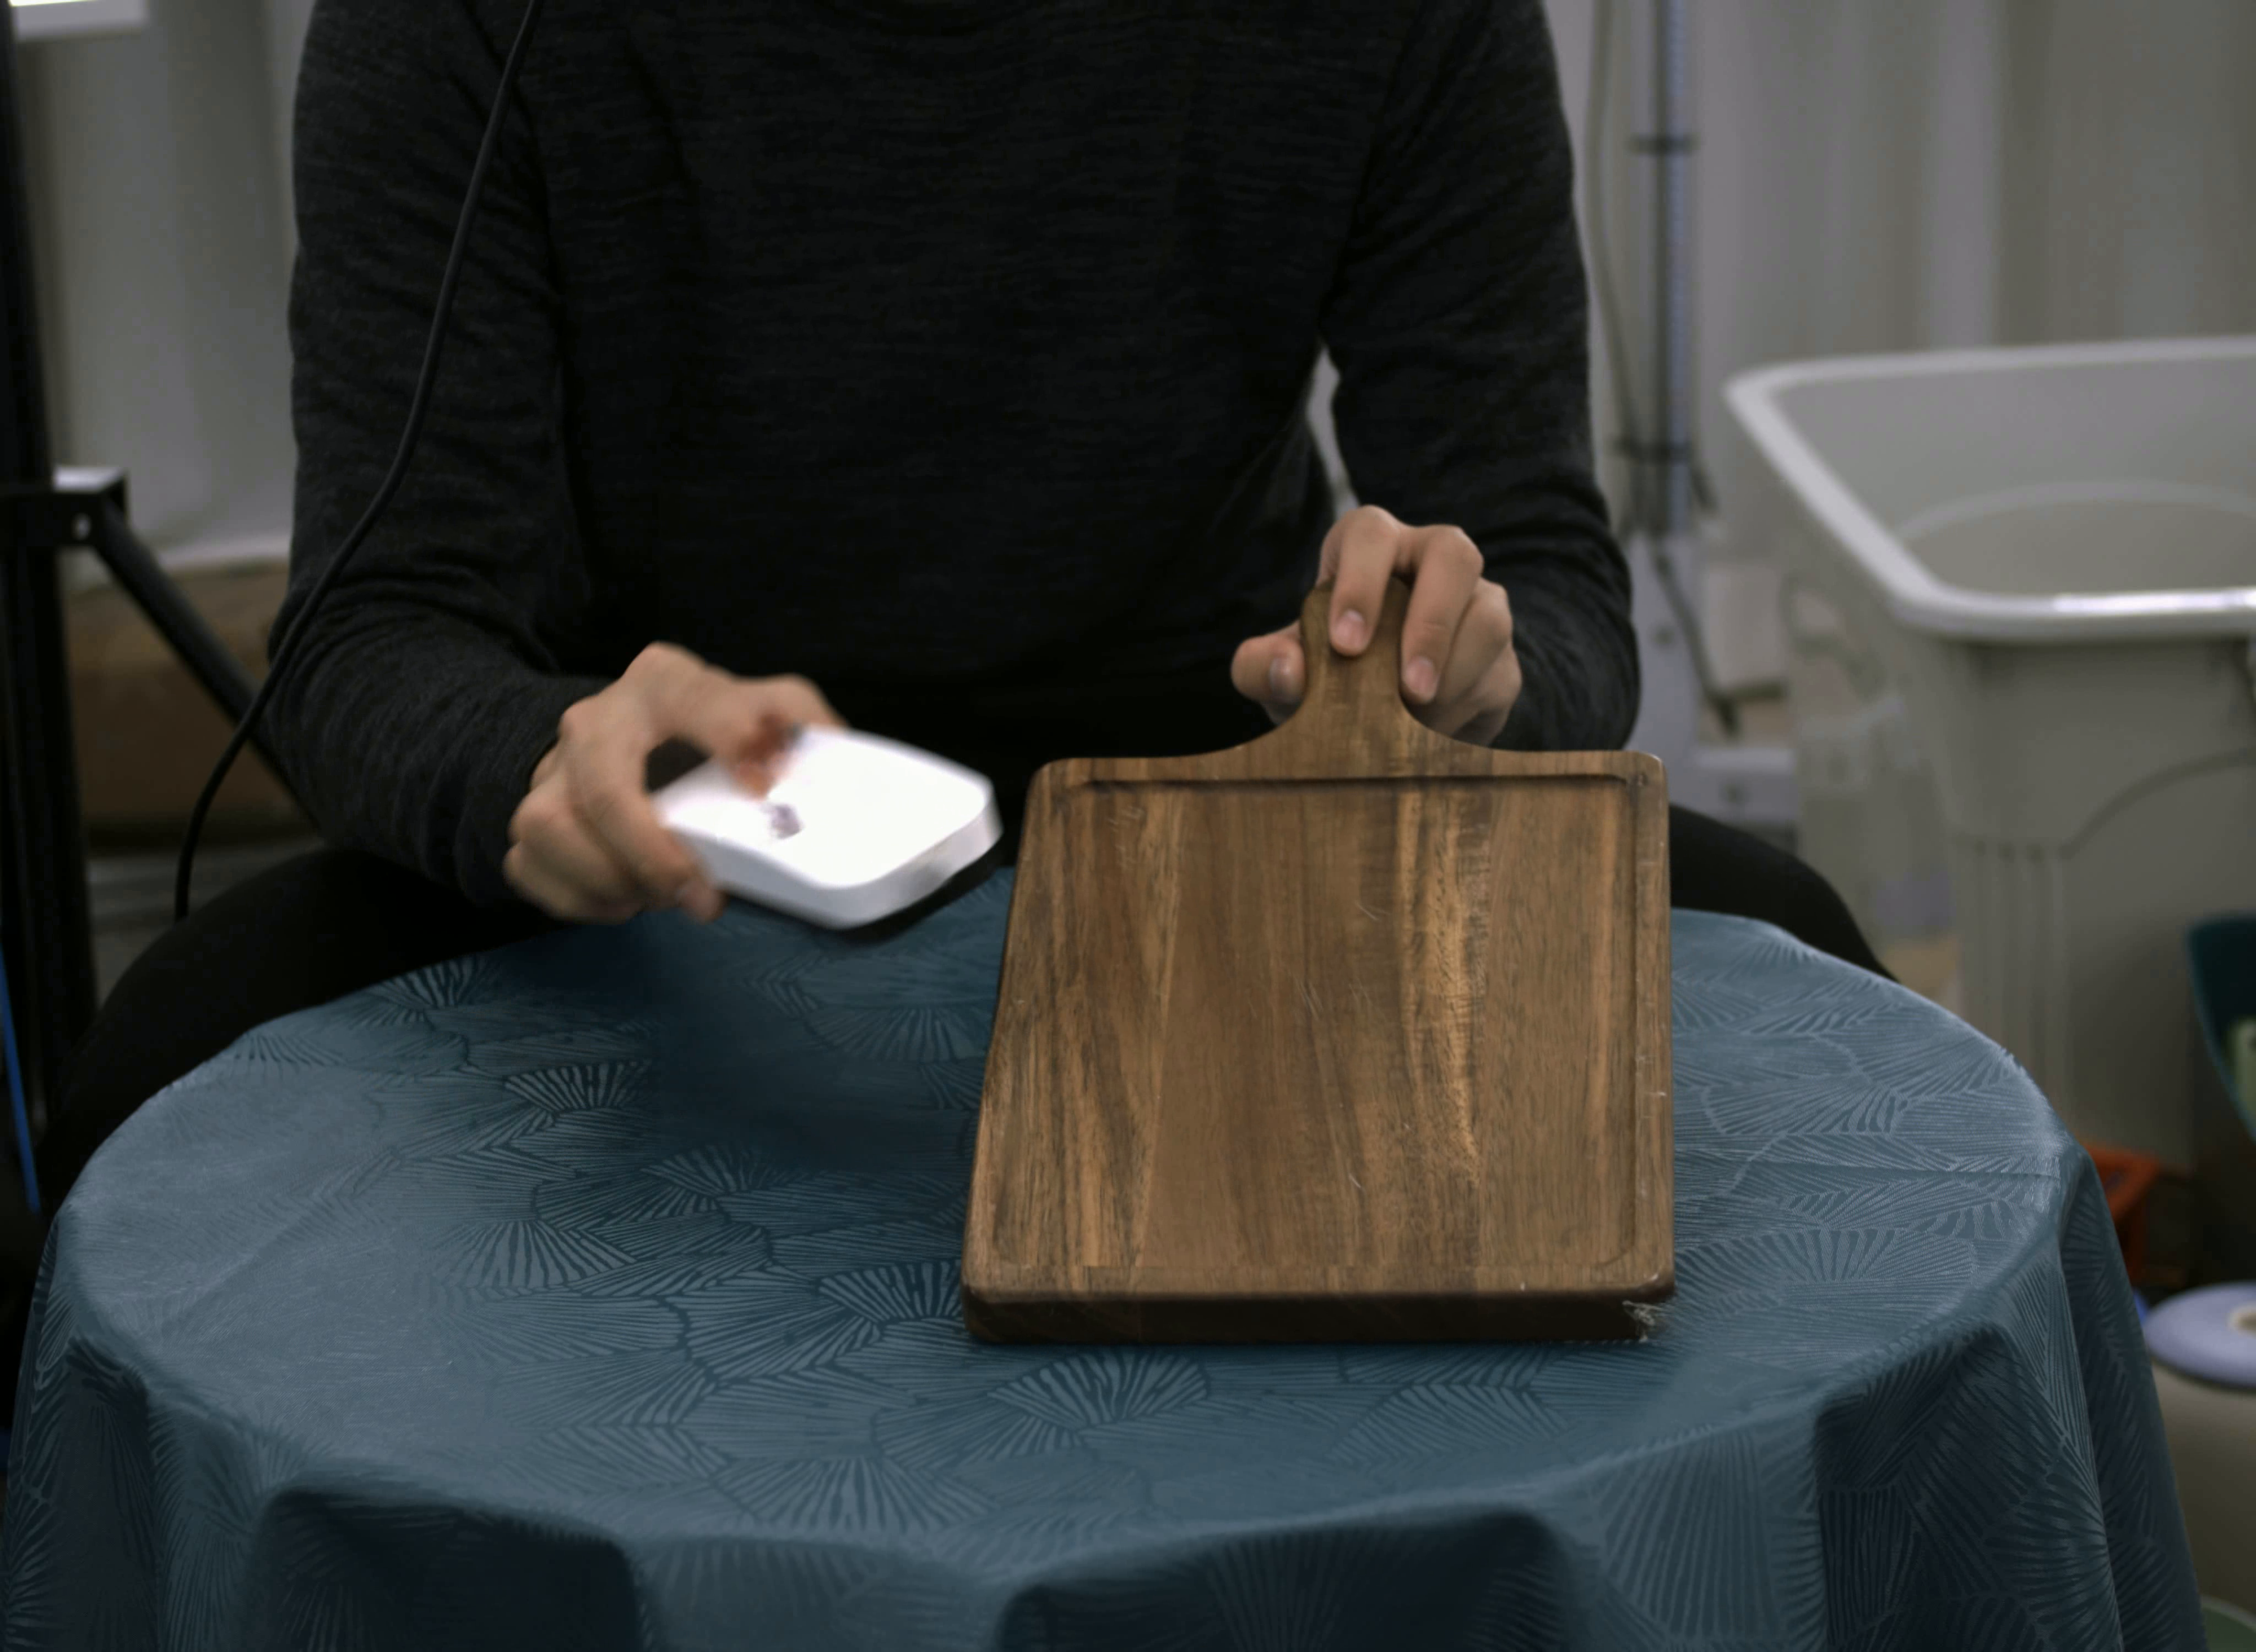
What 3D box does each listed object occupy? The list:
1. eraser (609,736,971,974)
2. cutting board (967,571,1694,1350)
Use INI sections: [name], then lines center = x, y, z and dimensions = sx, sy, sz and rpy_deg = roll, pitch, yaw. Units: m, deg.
[eraser]
center = -0.099, 0.006, 1.576
dimensions = 0.062, 0.034, 0.134
rpy_deg = -29, 26, -24
[cutting board]
center = 0.063, 0.030, 1.565
dimensions = 0.201, 0.023, 0.354
rpy_deg = -2, 36, 7
